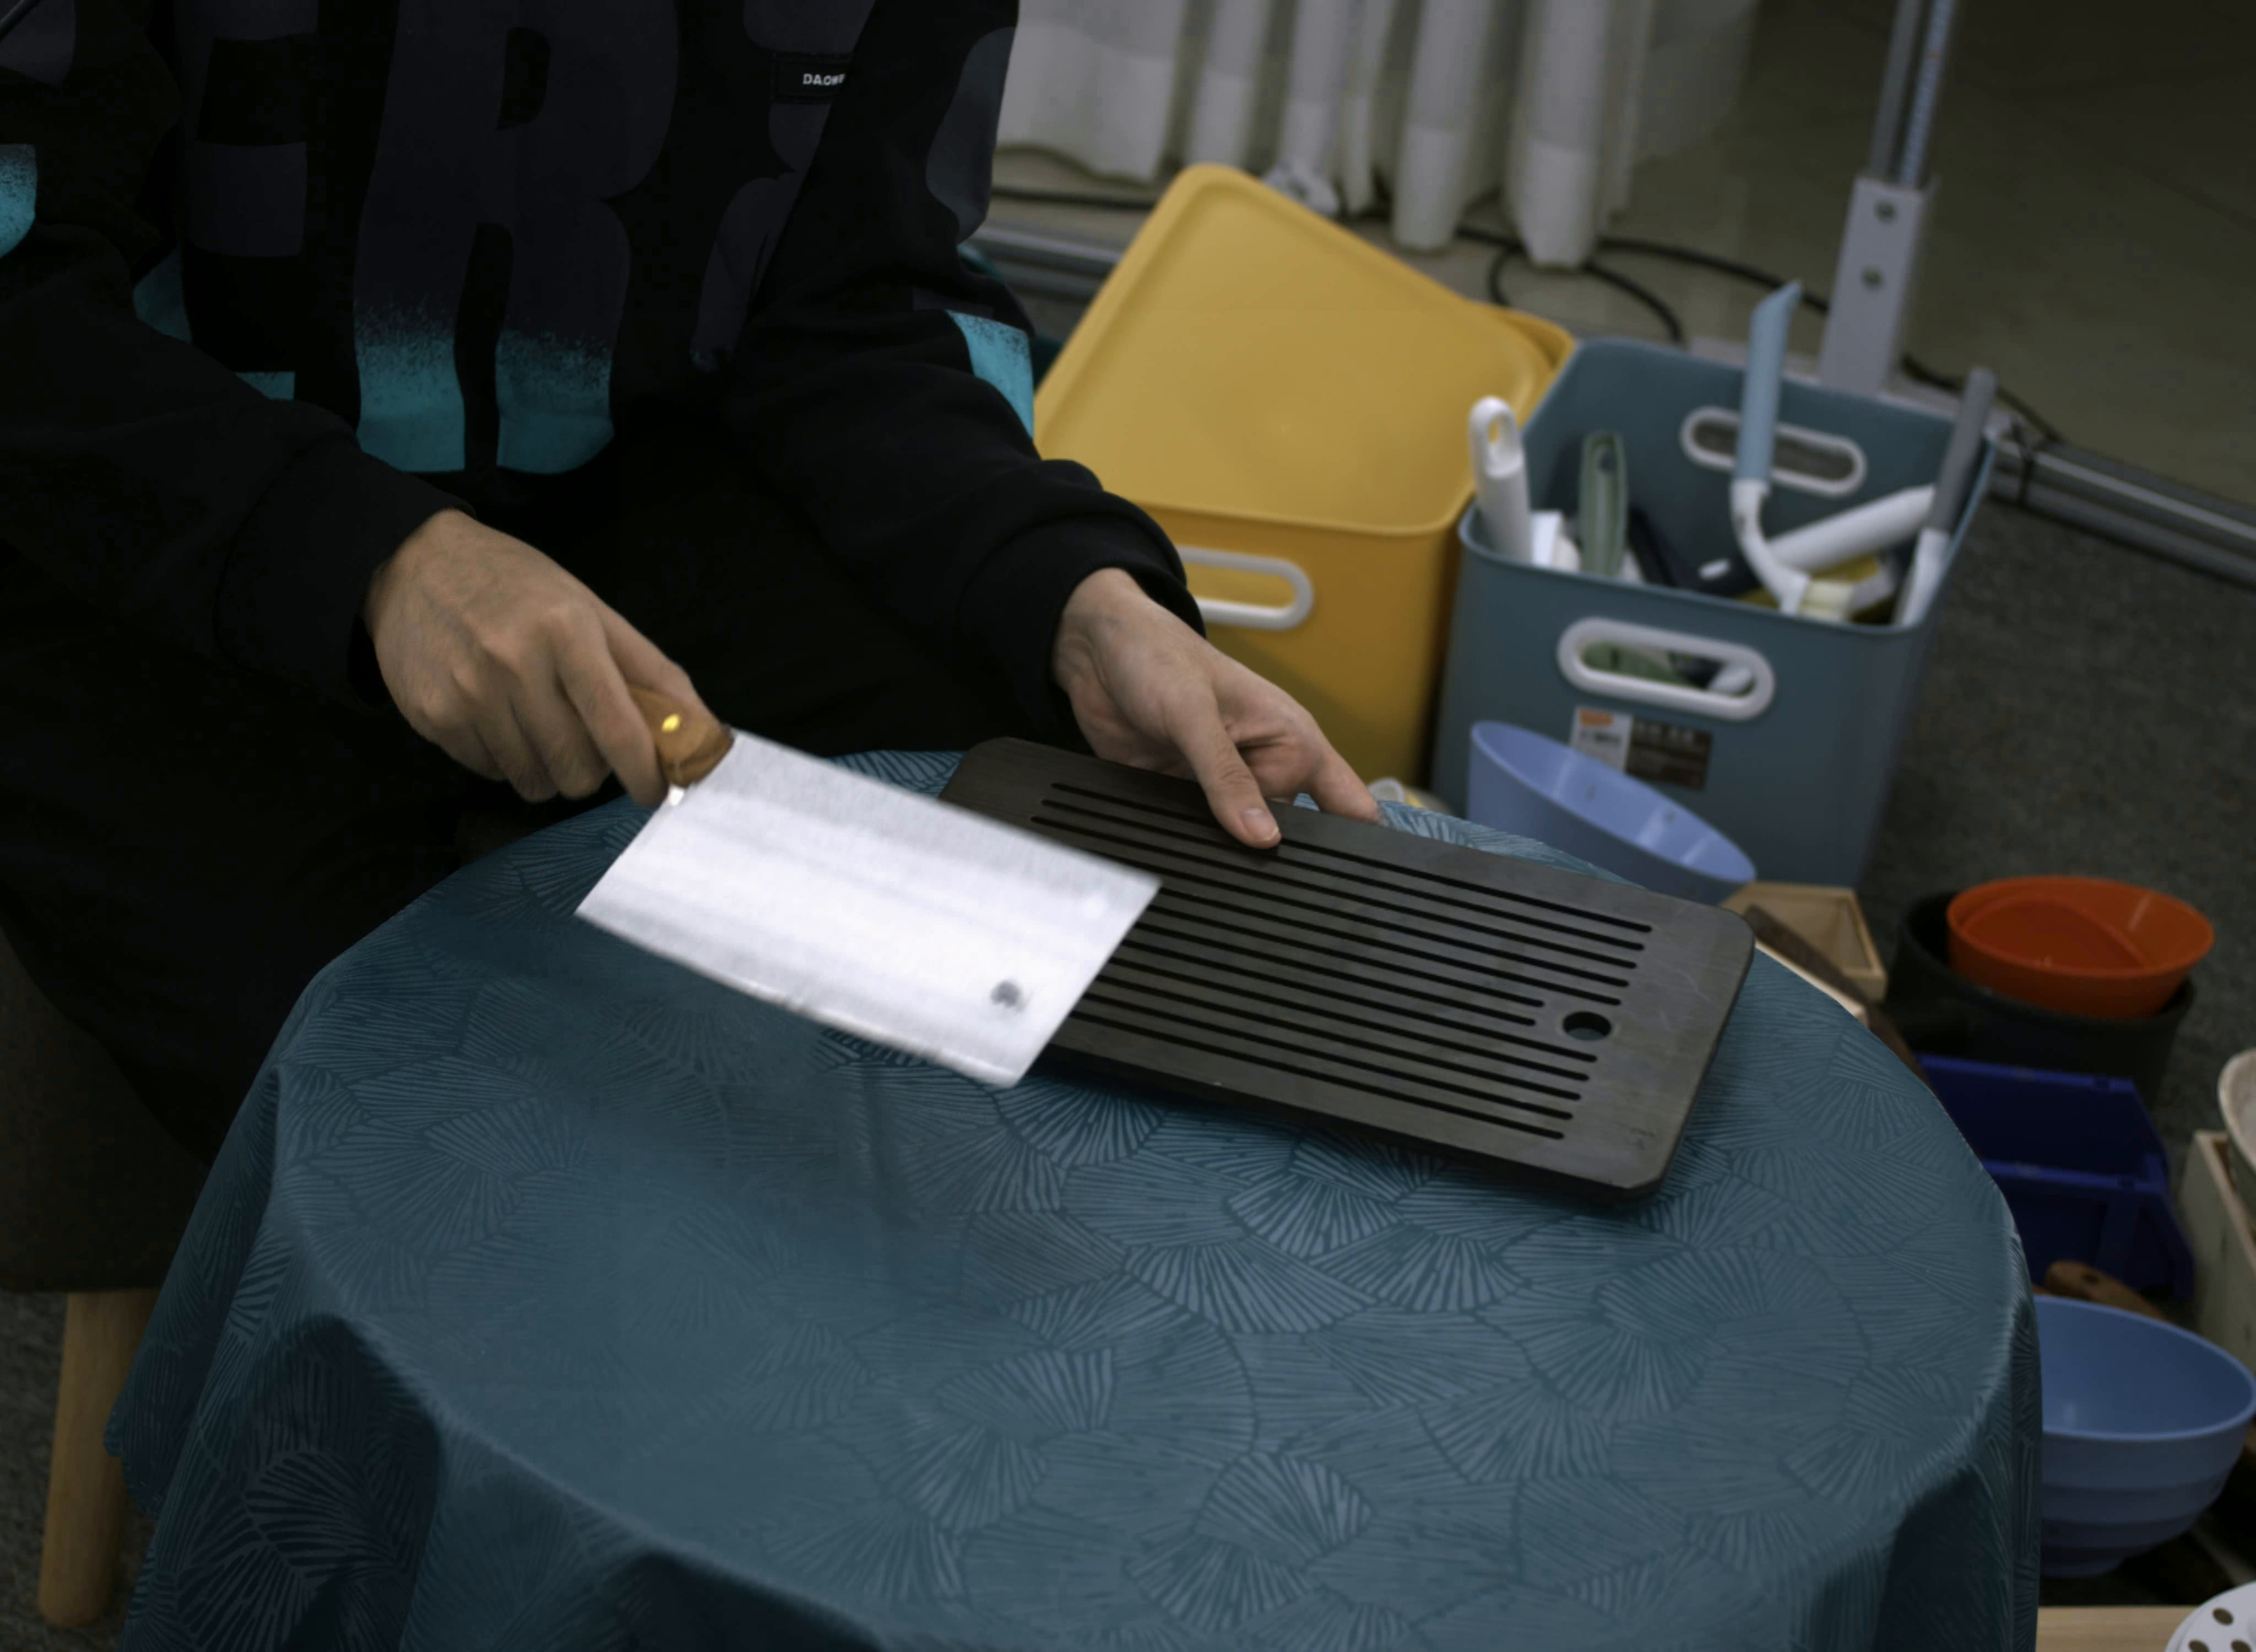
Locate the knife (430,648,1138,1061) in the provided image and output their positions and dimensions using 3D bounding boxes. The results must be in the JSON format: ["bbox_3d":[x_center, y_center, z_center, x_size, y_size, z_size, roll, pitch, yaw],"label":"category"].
[{"bbox_3d":[-0.136,0.011,1.817,0.307,0.021,0.093,21,61,33],"label":"knife"}]

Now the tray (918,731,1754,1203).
[{"bbox_3d":[0.060,0.049,1.914,0.306,0.018,0.170,14,37,14],"label":"tray"}]
